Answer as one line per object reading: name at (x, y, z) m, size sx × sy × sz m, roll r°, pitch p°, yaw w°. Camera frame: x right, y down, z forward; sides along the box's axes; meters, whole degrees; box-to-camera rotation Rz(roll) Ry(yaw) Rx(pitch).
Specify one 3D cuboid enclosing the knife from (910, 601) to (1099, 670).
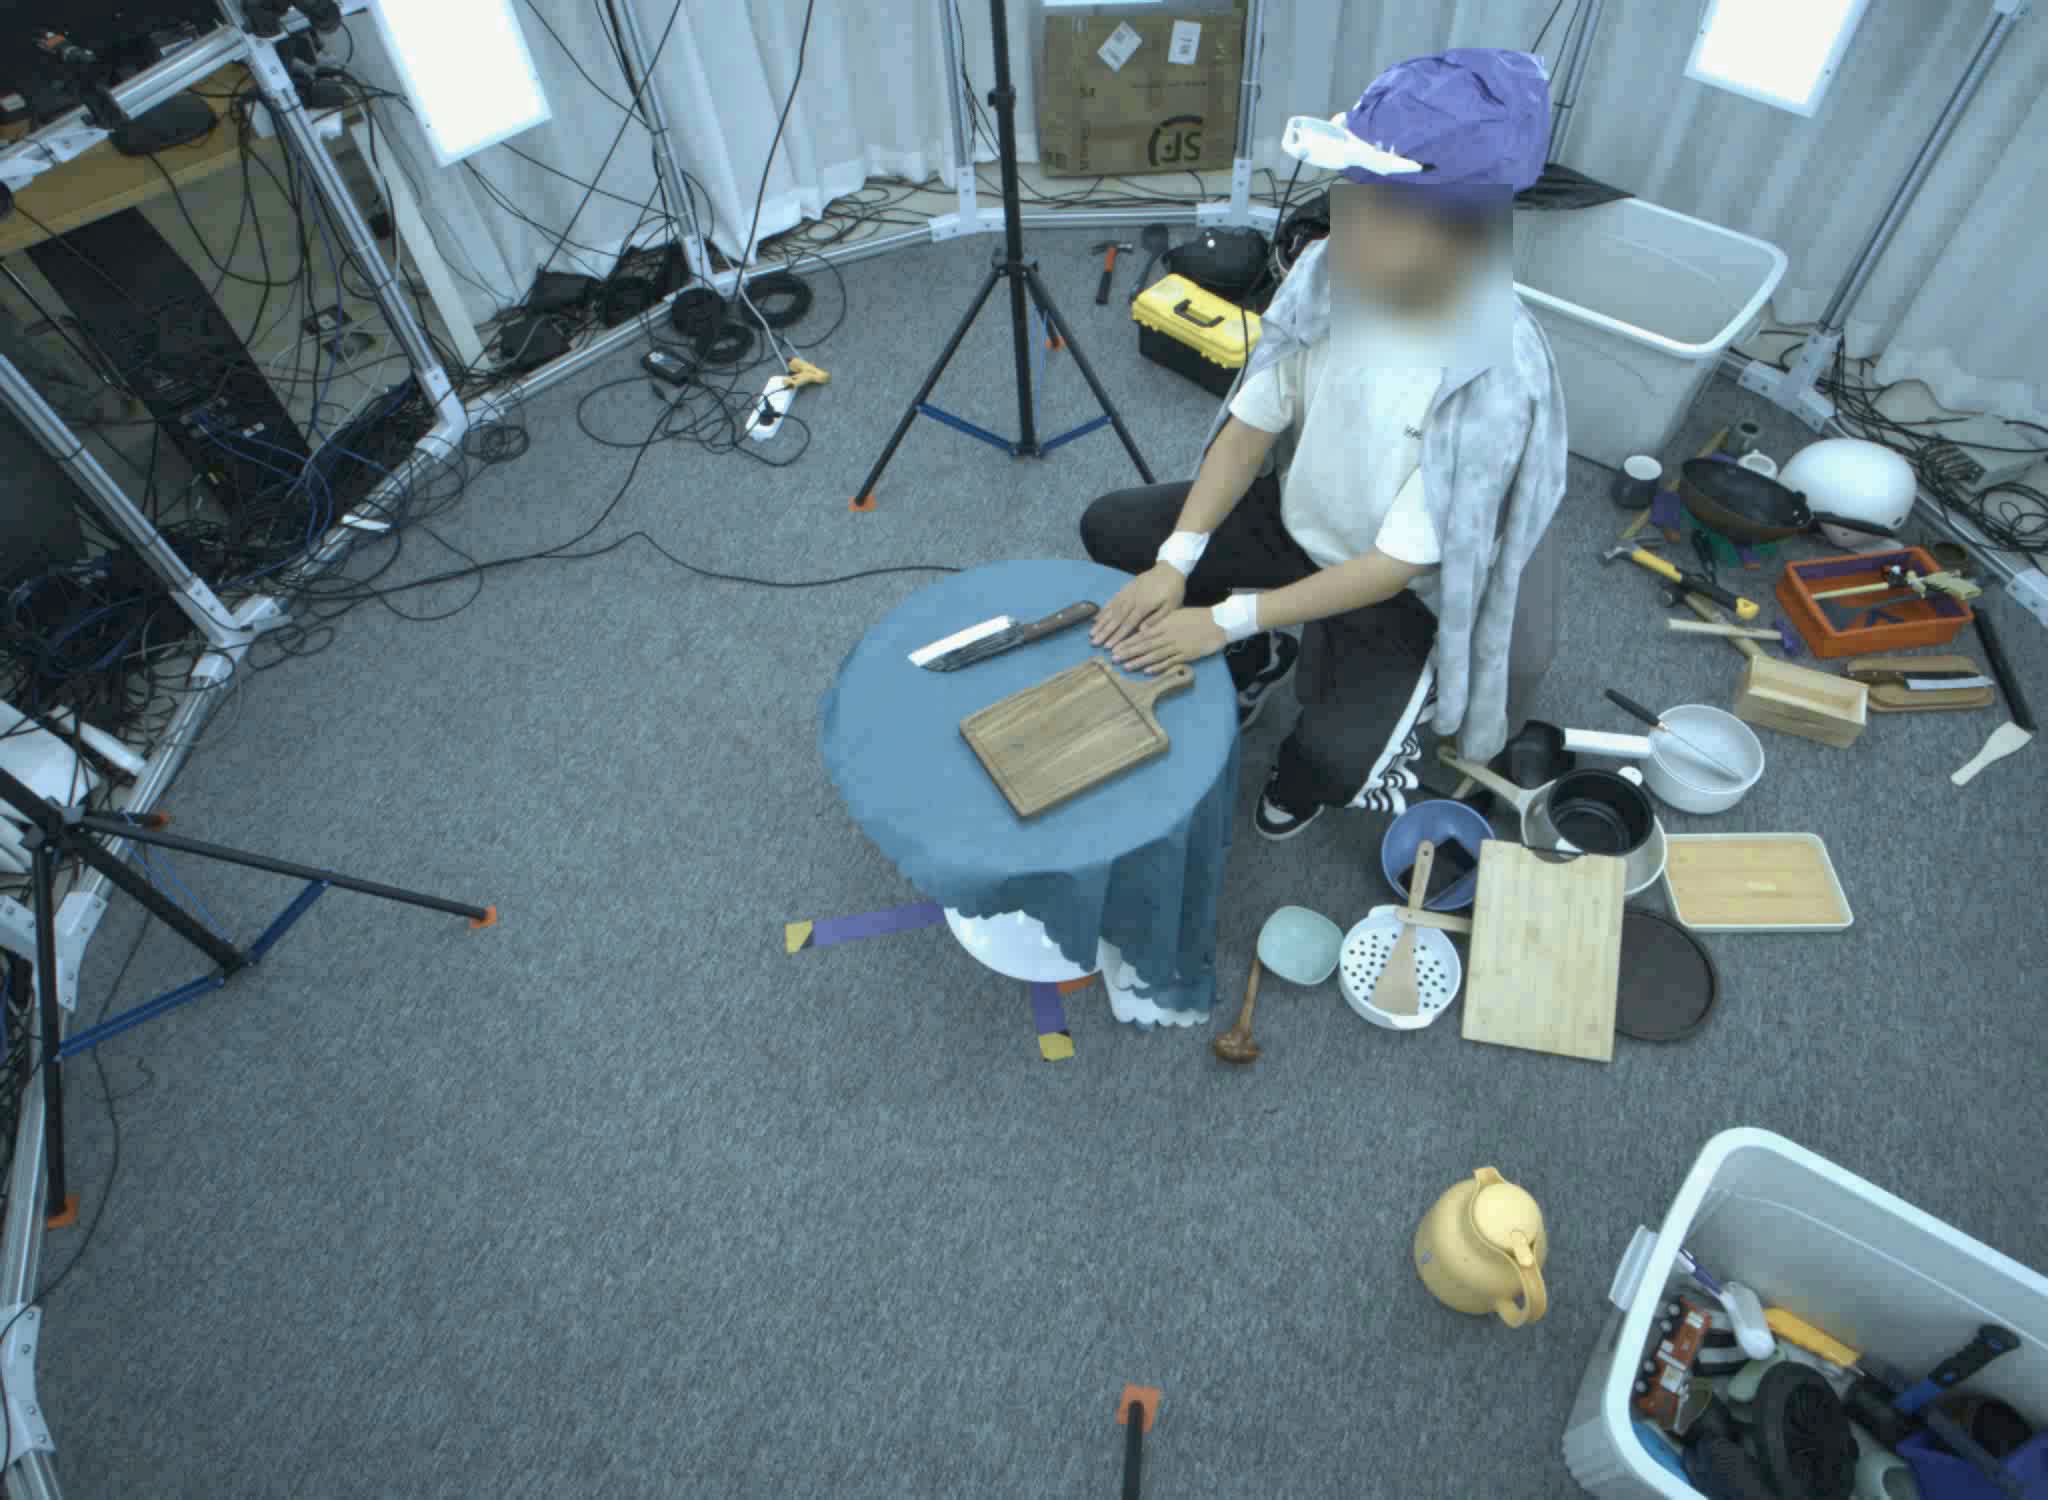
knife at (-0.031, -0.183, 1.908) m, size 0.301 × 0.024 × 0.067 m, roll -21°, pitch 54°, yaw -9°

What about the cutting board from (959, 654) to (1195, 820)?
cutting board at (0.102, -0.045, 1.805) m, size 0.355 × 0.023 × 0.197 m, roll -26°, pitch 58°, yaw -16°
